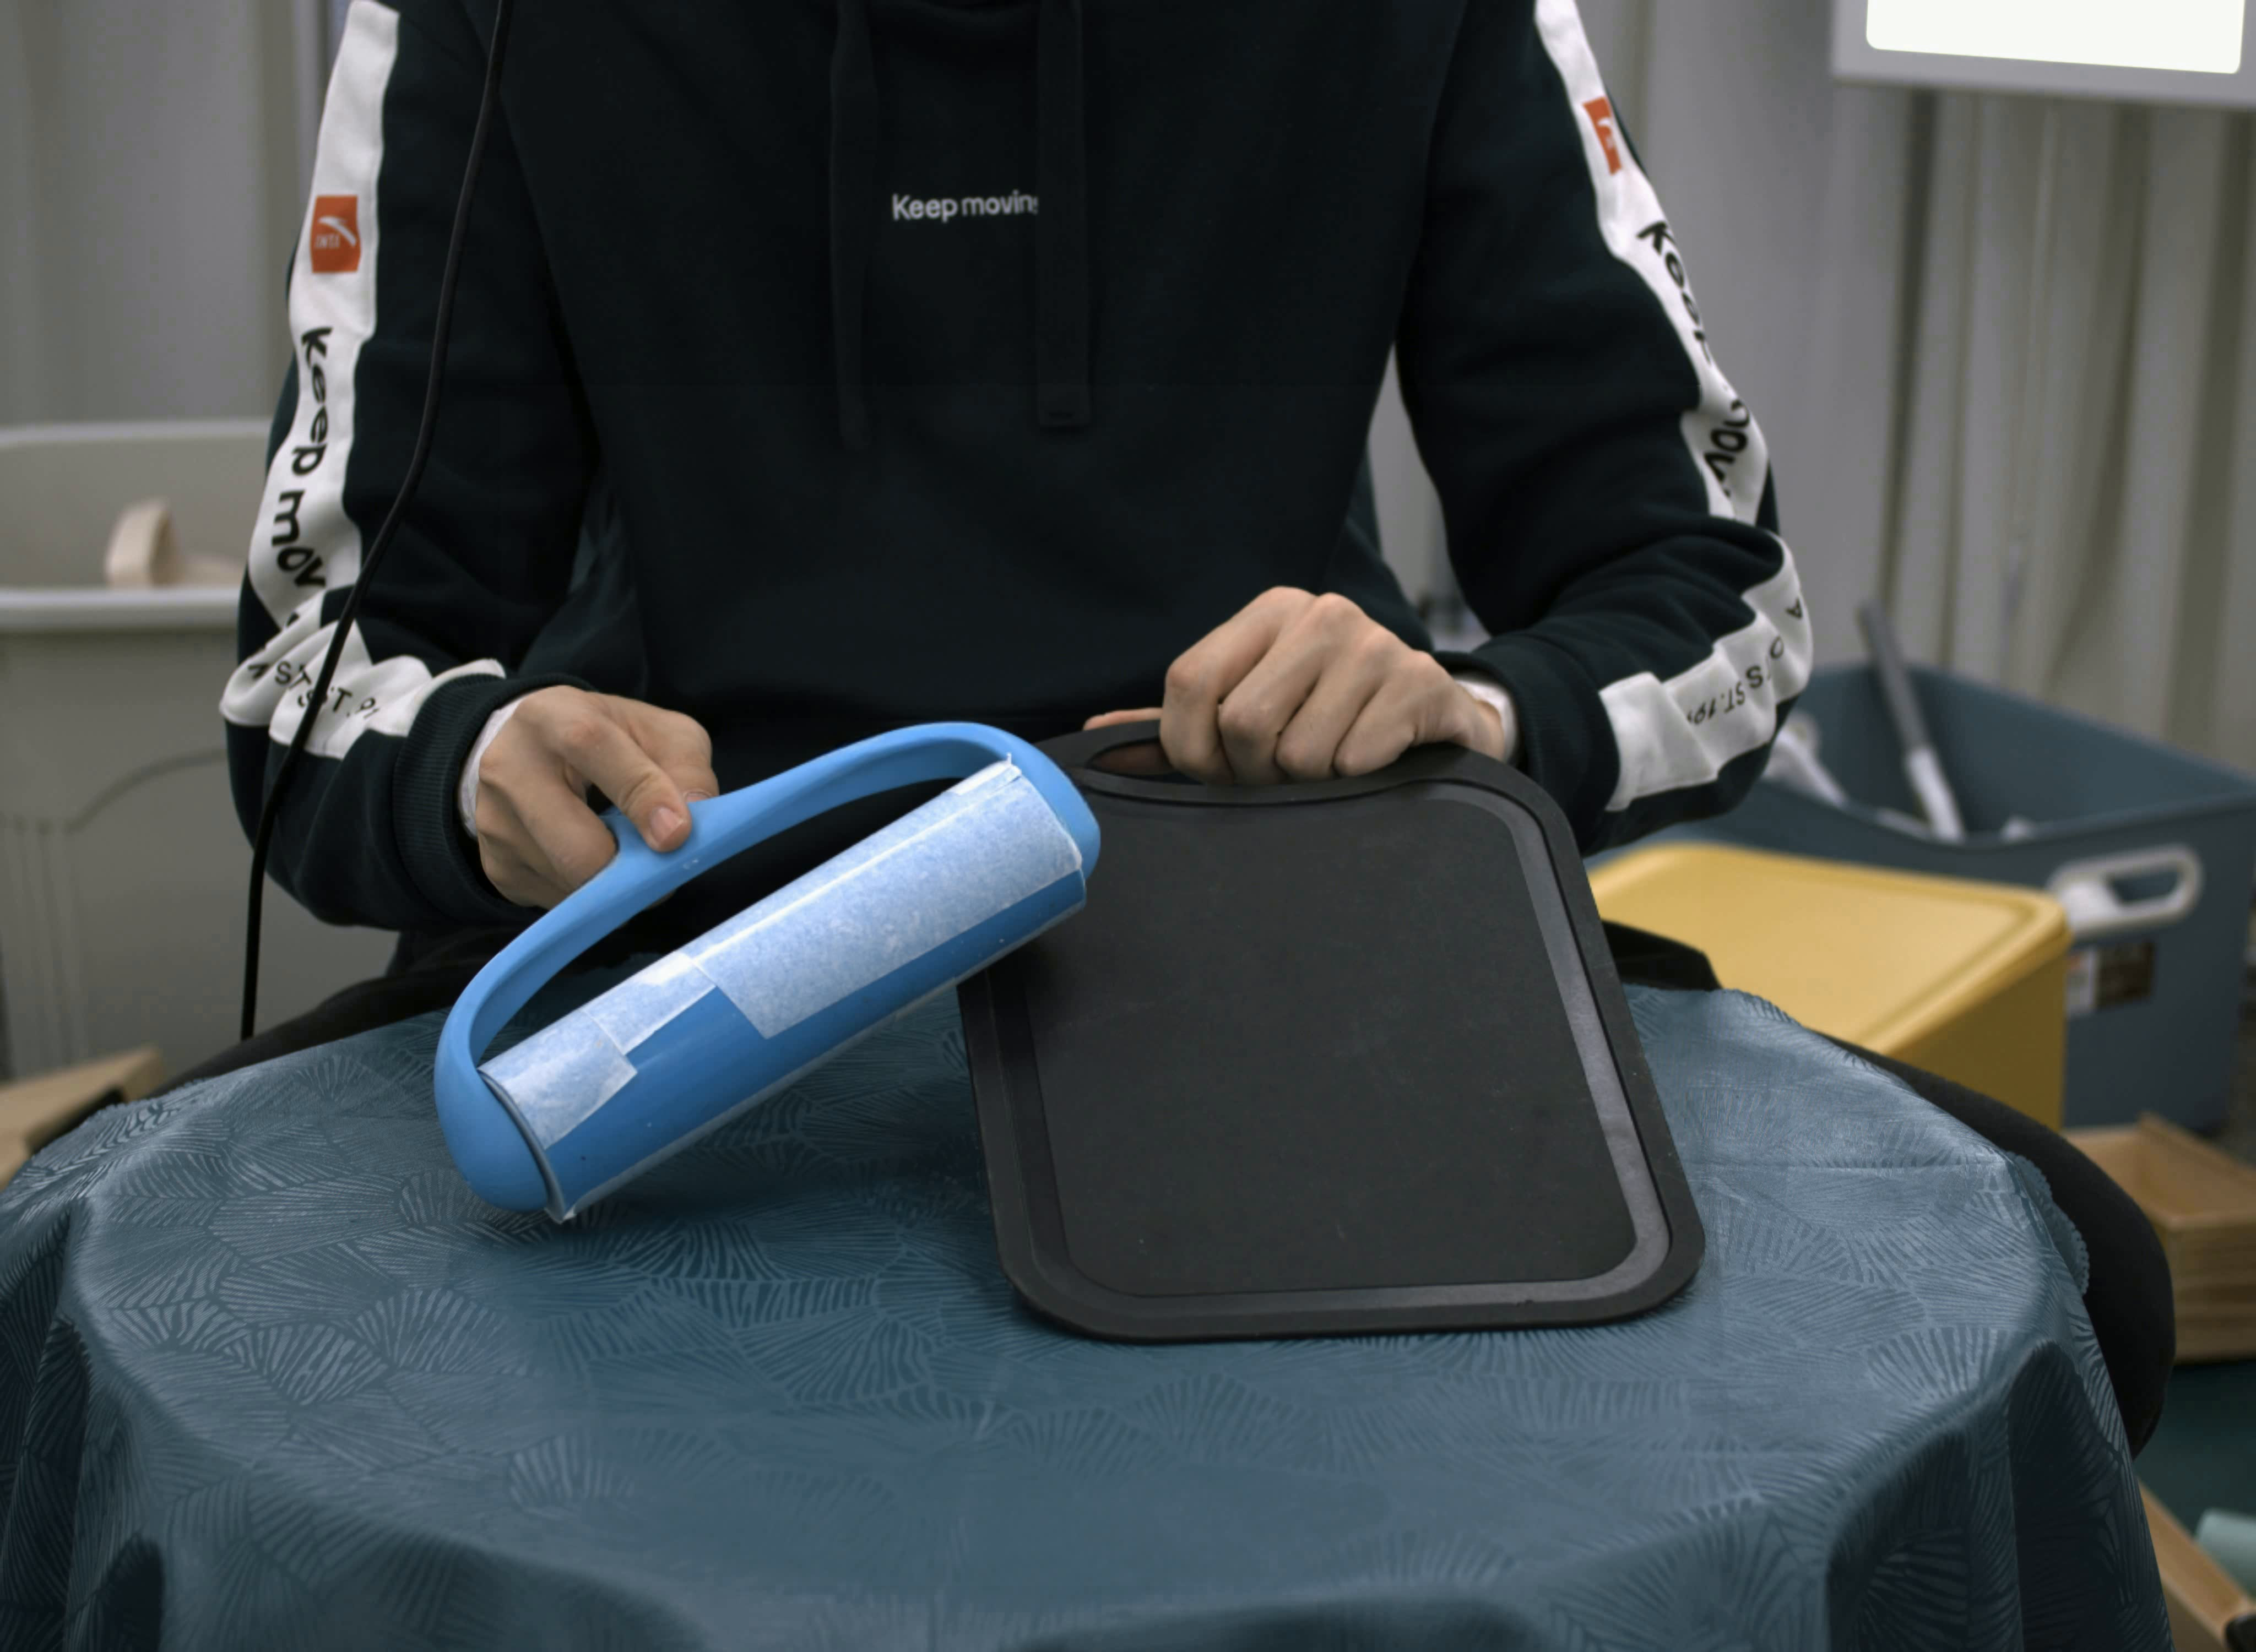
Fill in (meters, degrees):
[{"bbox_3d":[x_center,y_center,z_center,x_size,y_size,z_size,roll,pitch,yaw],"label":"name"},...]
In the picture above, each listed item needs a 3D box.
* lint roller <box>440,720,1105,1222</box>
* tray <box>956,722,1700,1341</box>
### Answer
[{"bbox_3d":[-0.137,0.026,1.648,0.229,0.069,0.177,-34,39,-20],"label":"lint roller"},{"bbox_3d":[0.052,0.054,1.632,0.211,0.010,0.322,0,34,-7],"label":"tray"}]
